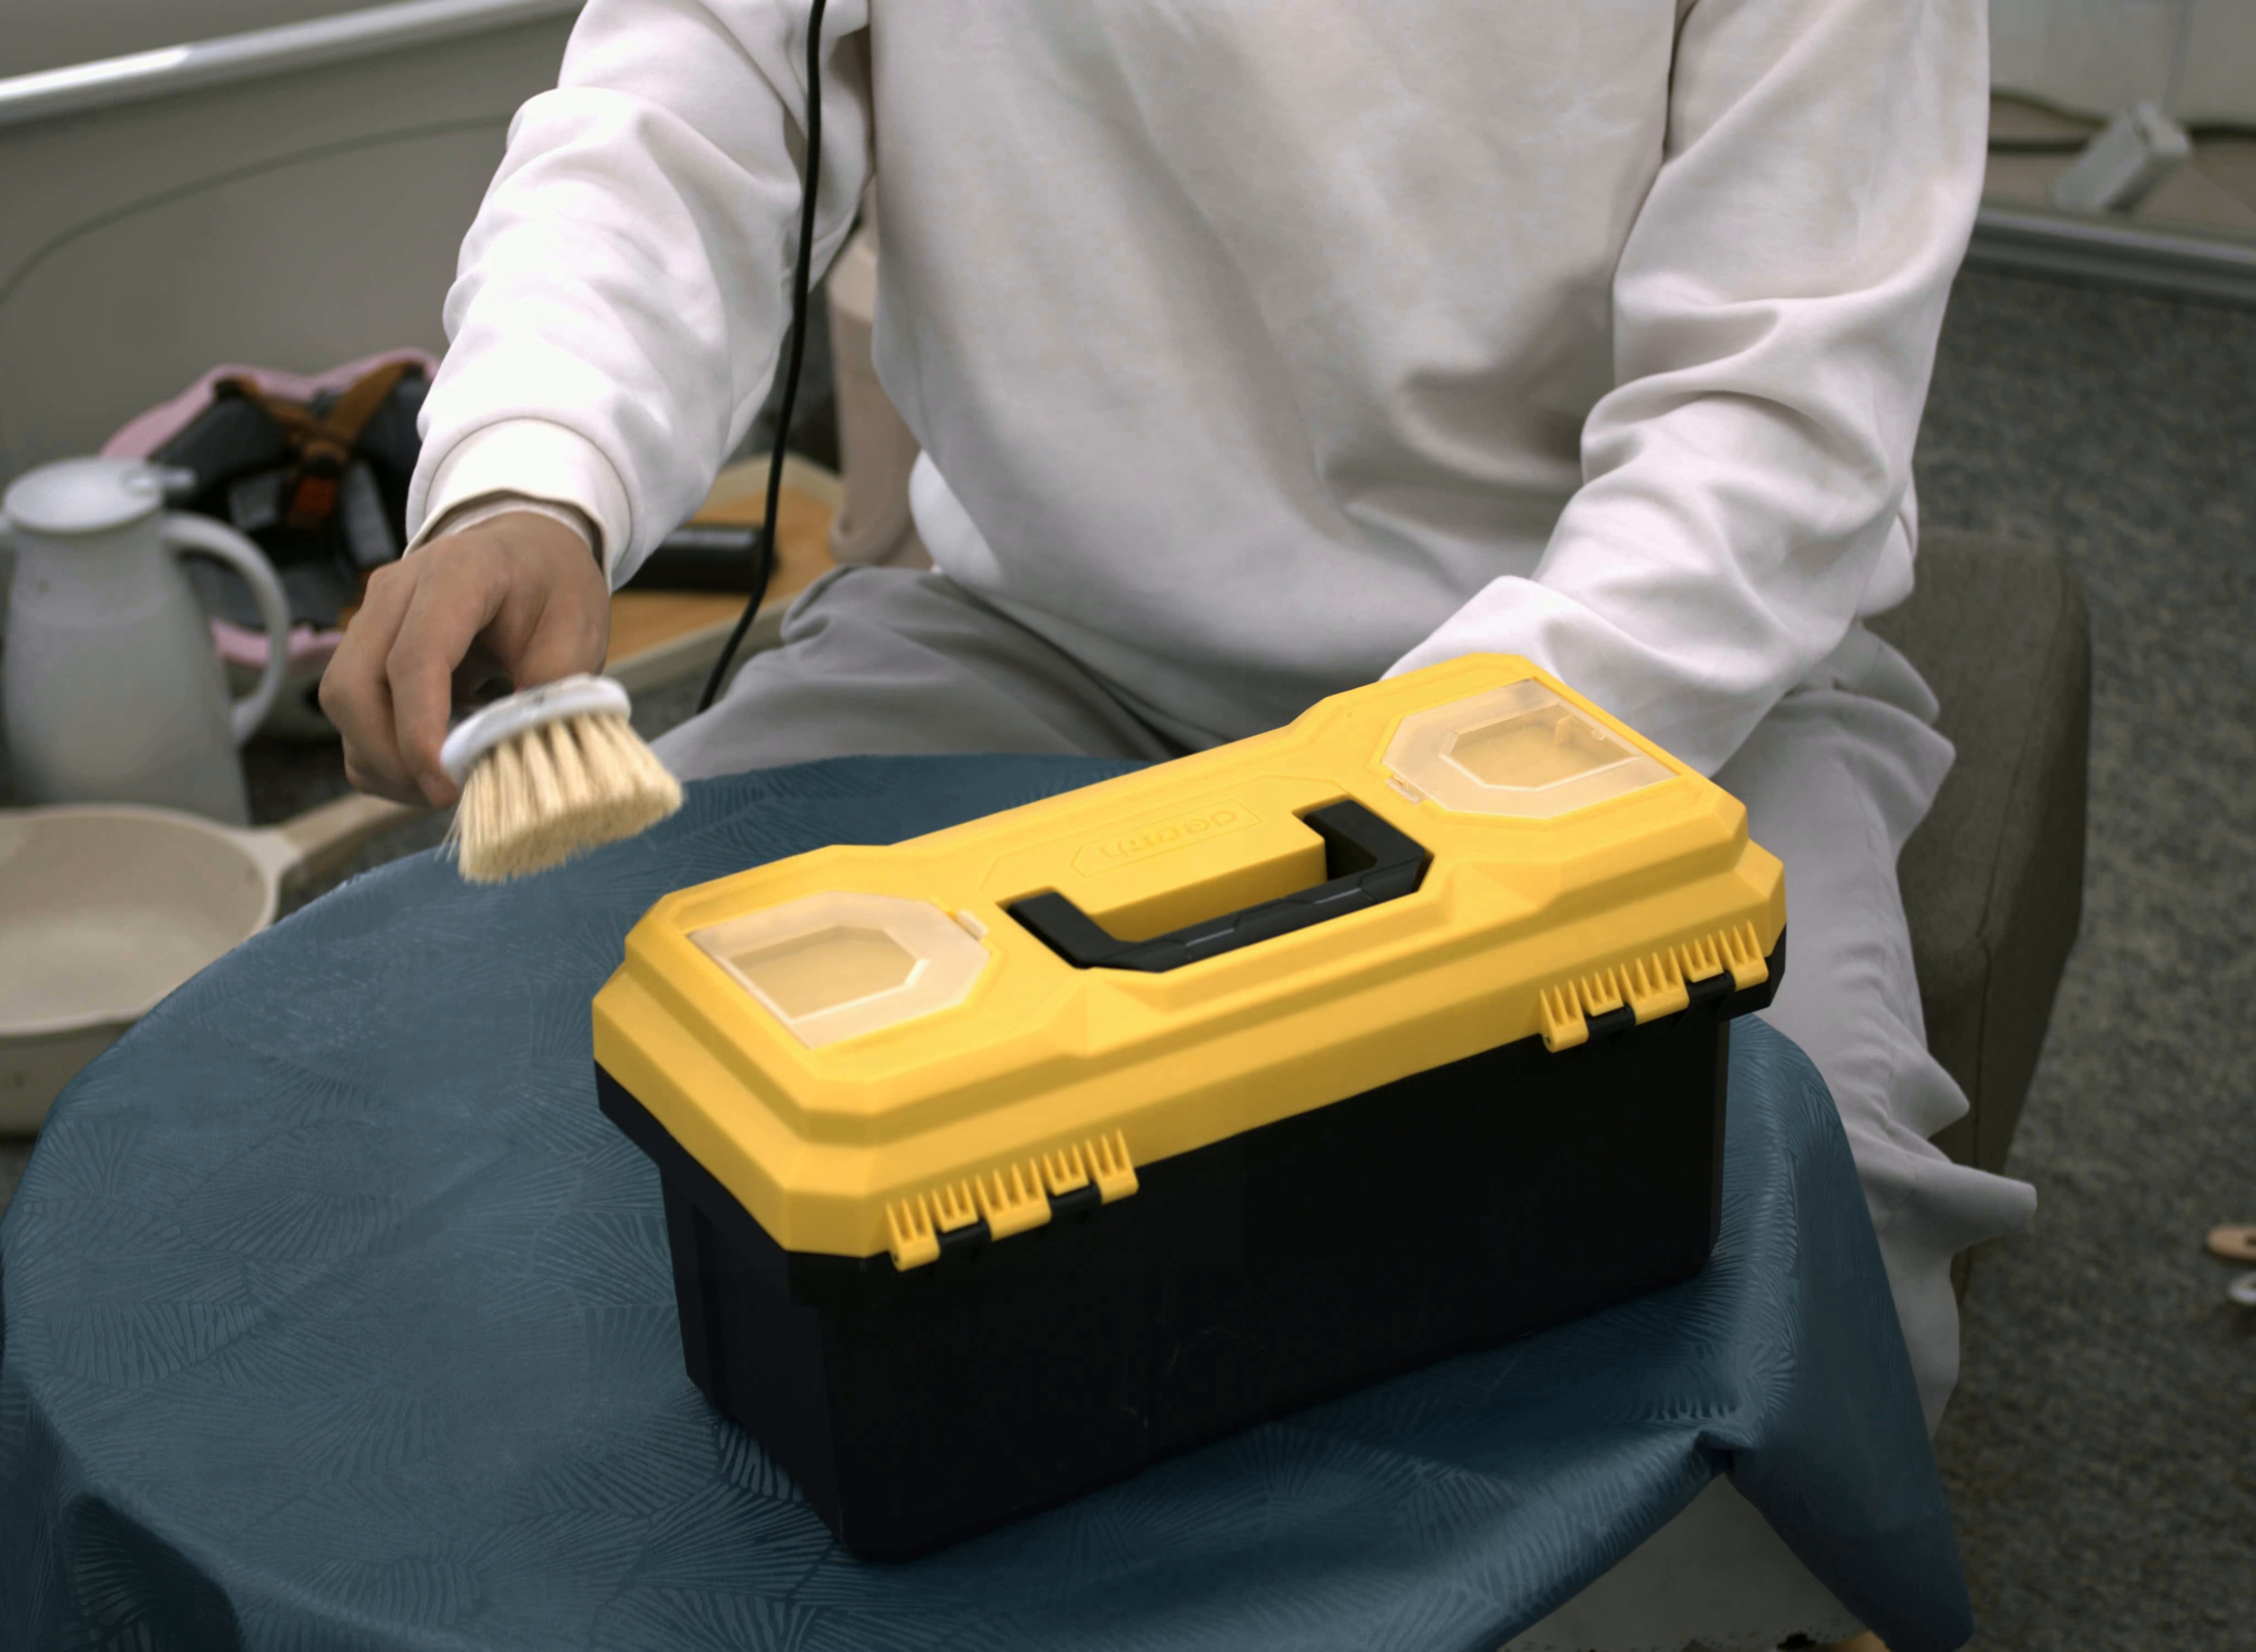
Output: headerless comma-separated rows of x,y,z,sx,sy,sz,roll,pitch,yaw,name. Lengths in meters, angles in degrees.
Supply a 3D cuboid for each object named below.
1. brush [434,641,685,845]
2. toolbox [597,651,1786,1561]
-0.191,-0.016,1.790,0.068,0.056,0.264,-4,-4,-13,brush
0.022,0.082,1.752,0.353,0.171,0.182,-16,31,-26,toolbox
